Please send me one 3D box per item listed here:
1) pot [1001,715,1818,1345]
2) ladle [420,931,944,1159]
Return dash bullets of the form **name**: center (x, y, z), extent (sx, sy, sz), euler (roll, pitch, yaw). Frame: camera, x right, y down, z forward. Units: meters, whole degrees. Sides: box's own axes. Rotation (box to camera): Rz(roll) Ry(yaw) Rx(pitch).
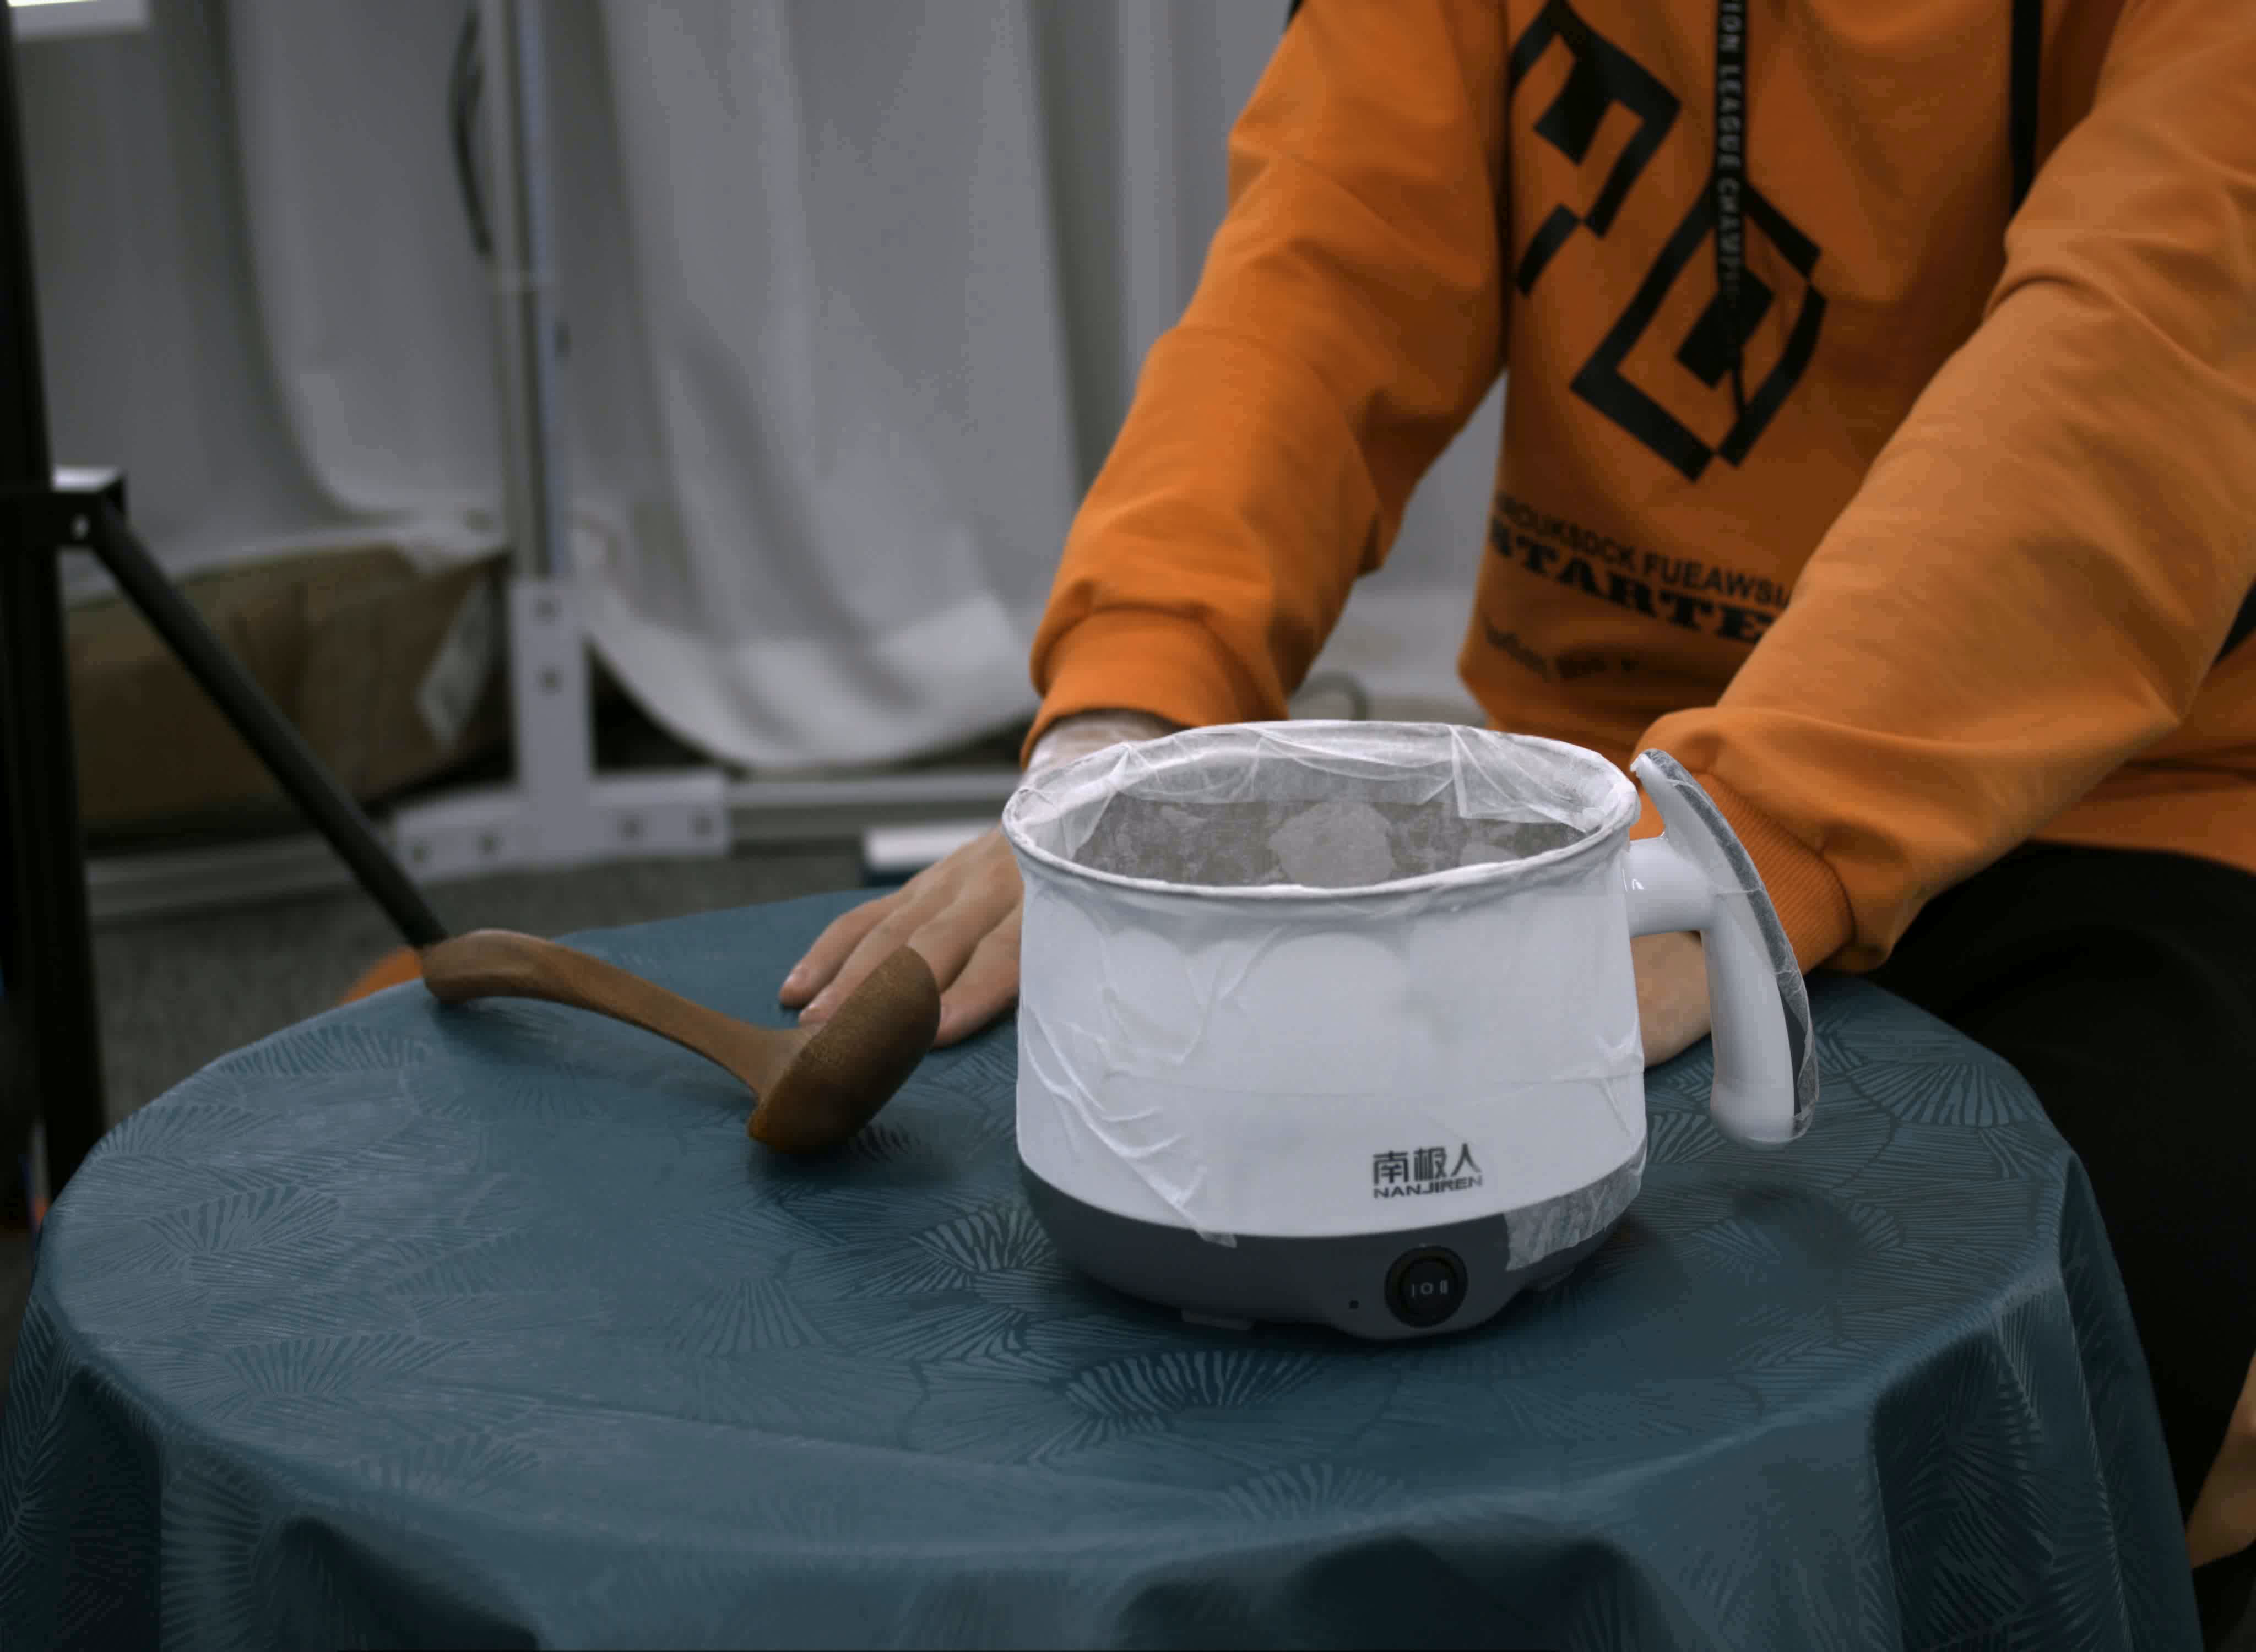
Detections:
- **pot**: center (0.082, 0.051, 1.492), extent (0.230, 0.136, 0.181), euler (-7, 17, -14)
- **ladle**: center (-0.152, 0.052, 1.673), extent (0.076, 0.064, 0.266), euler (-42, 35, -27)
